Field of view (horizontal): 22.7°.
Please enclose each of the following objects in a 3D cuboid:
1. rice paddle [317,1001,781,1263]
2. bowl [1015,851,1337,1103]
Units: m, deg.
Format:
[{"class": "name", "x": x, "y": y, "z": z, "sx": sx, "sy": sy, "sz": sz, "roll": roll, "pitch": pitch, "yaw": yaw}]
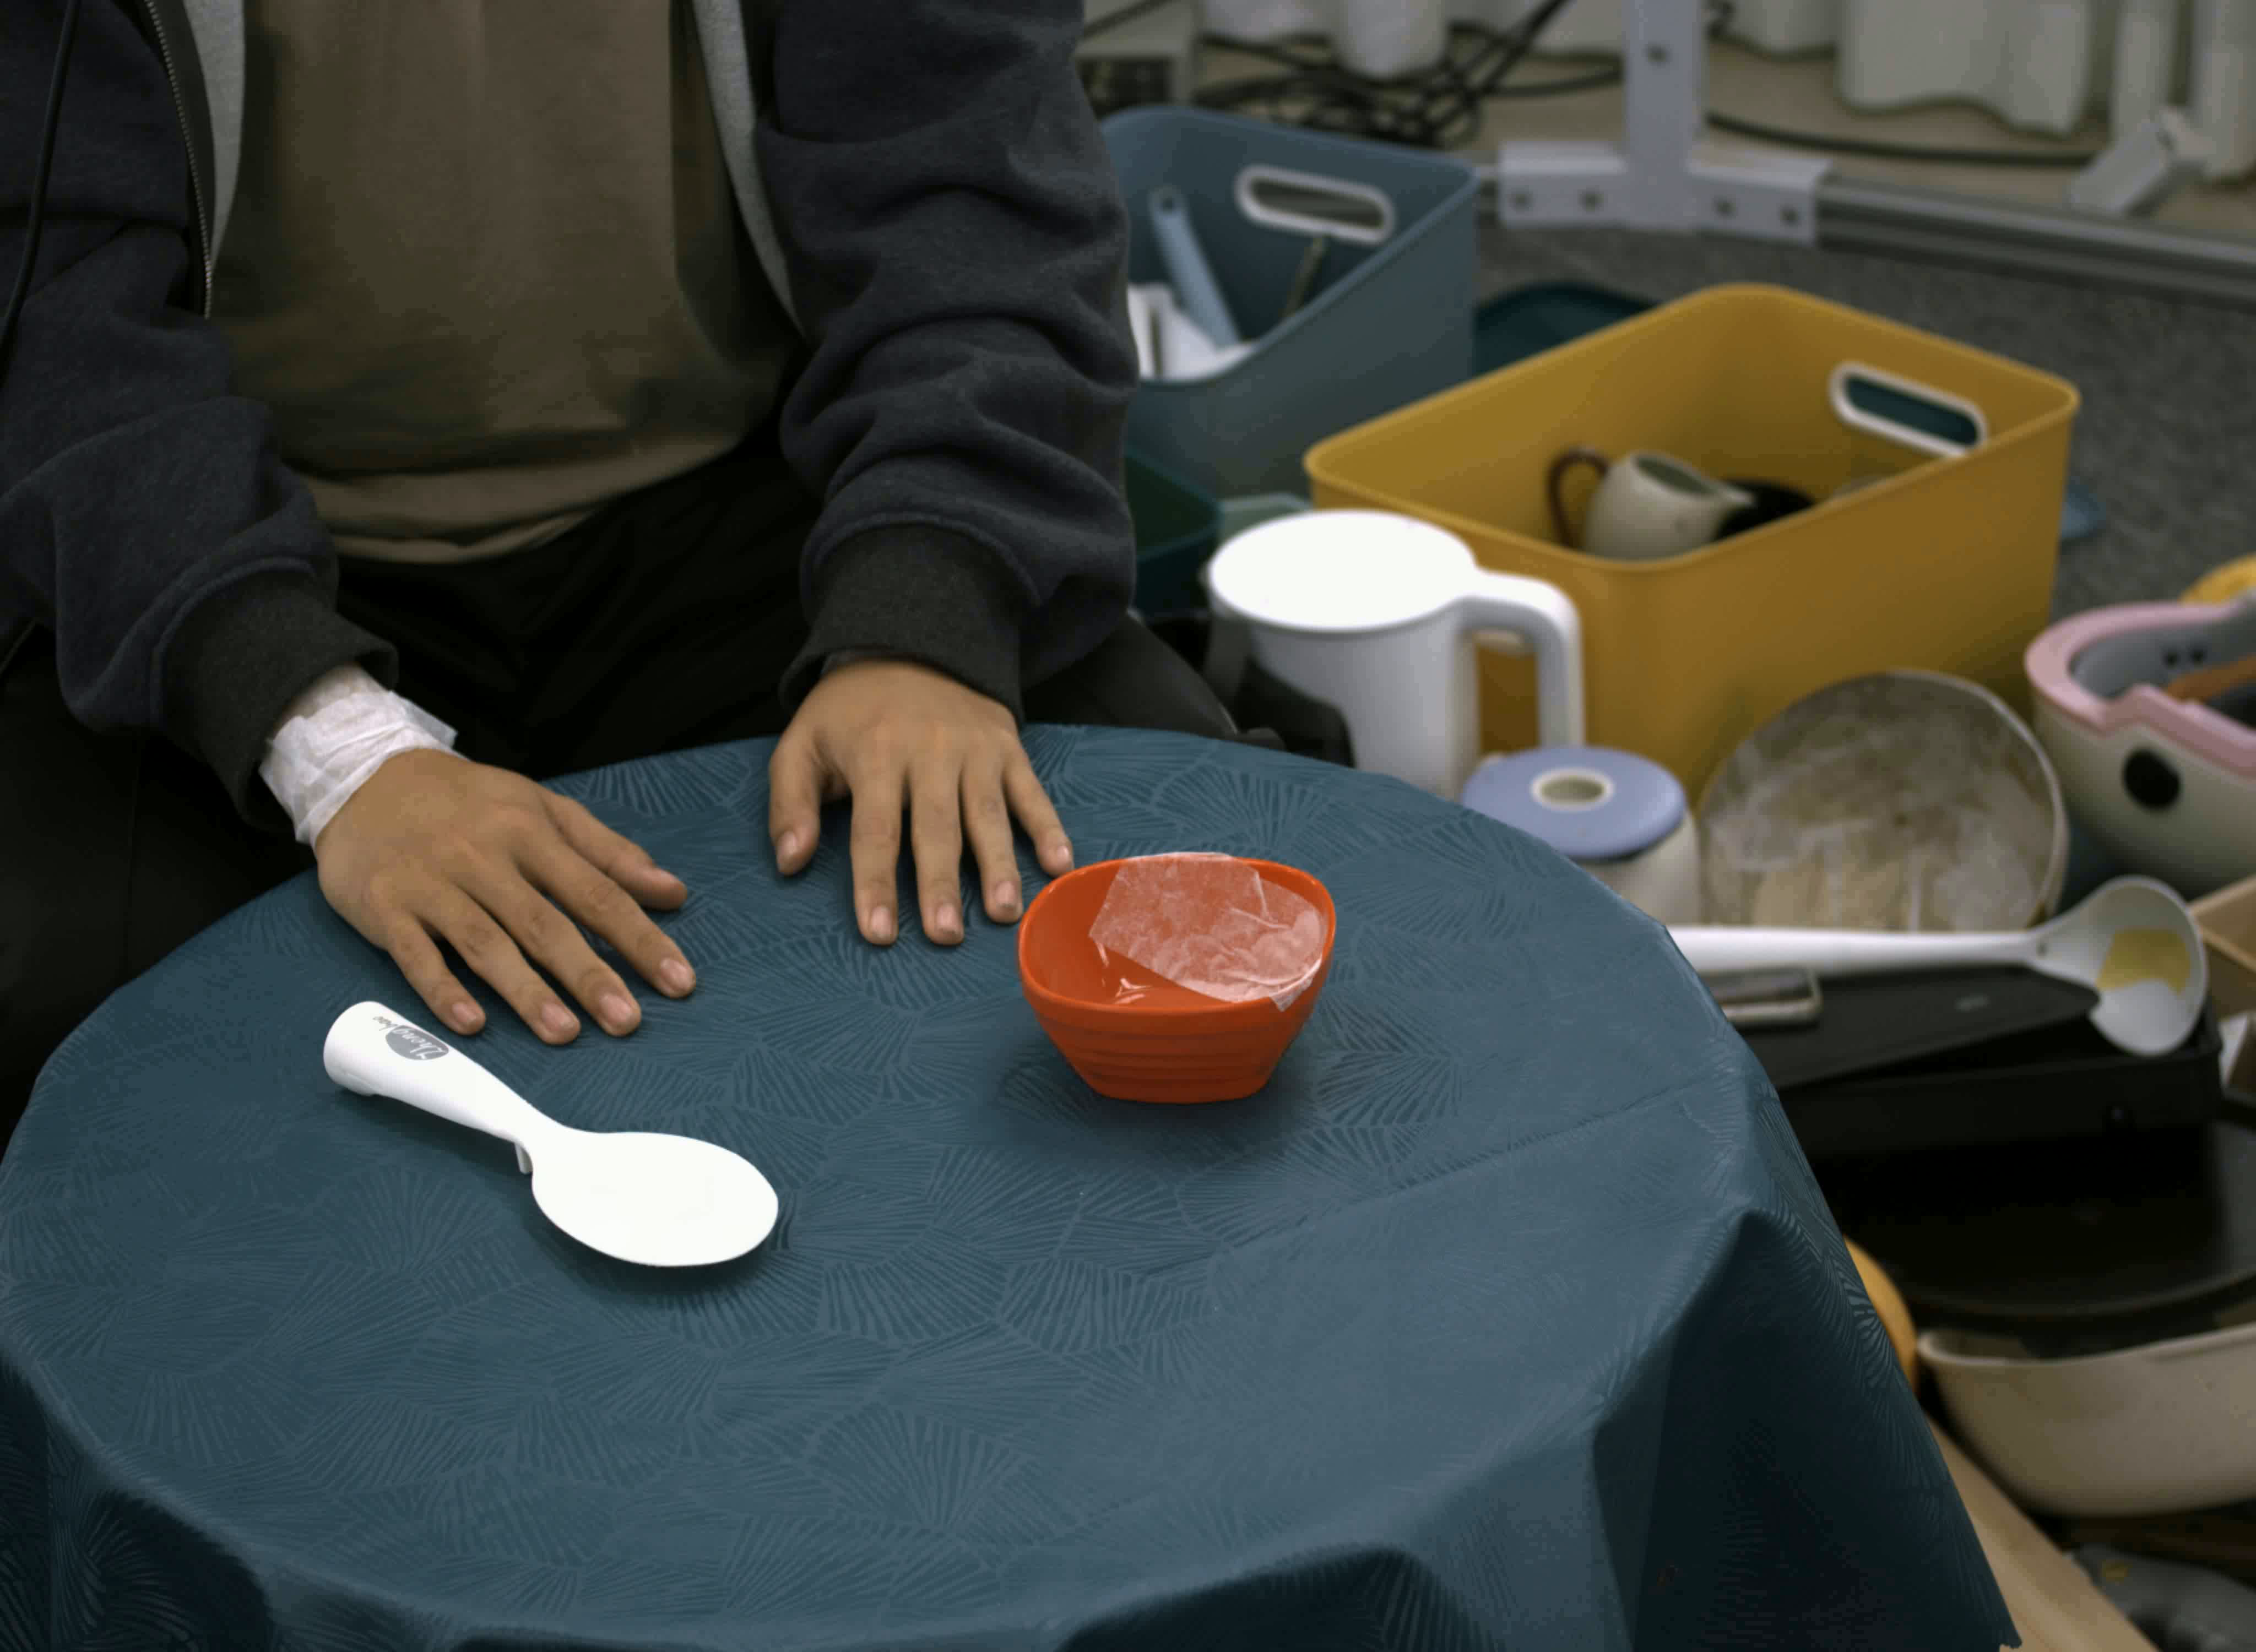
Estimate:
[{"class": "rice paddle", "x": -0.195, "y": 0.104, "z": 1.883, "sx": 0.205, "sy": 0.029, "sz": 0.069, "roll": 22, "pitch": 38, "yaw": 39}, {"class": "bowl", "x": 0.018, "y": 0.056, "z": 1.929, "sx": 0.118, "sy": 0.051, "sz": 0.121, "roll": -2, "pitch": 28, "yaw": 2}]
